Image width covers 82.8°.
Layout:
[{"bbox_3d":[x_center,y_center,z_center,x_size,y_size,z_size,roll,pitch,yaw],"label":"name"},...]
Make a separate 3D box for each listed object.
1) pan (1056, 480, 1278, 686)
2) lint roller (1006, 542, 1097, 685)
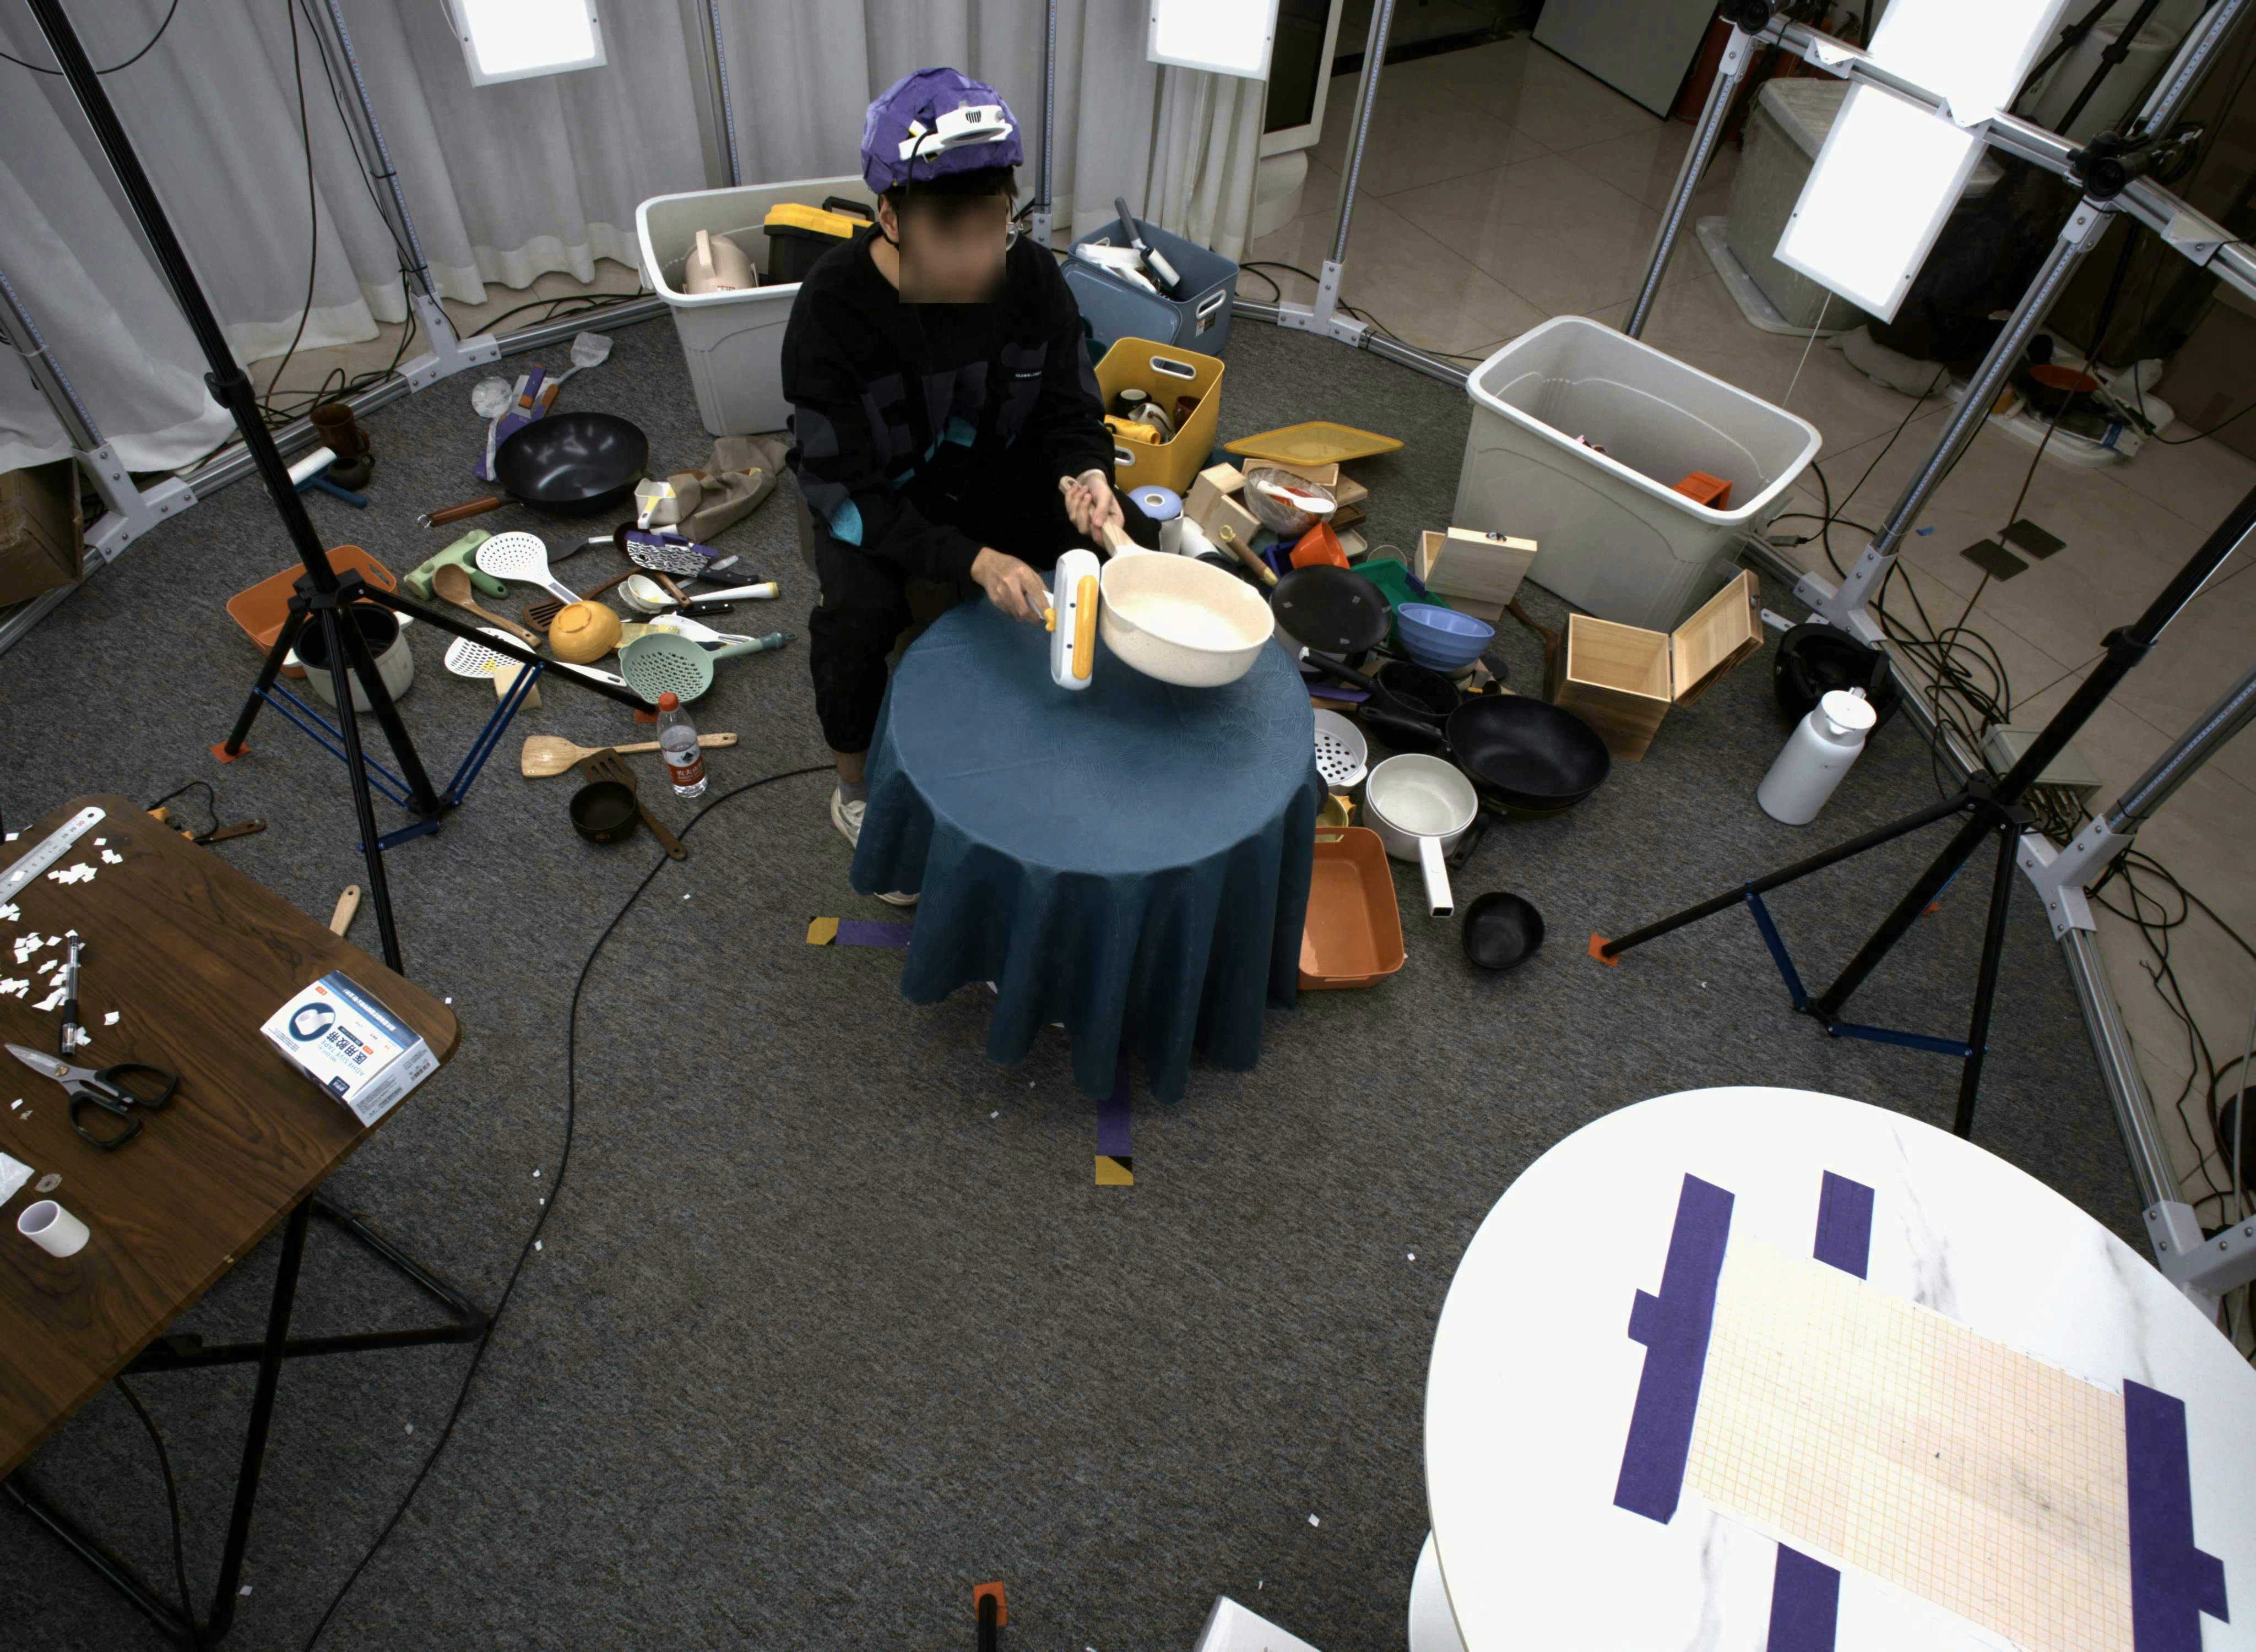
[{"bbox_3d":[0.024,-0.347,1.839,0.264,0.100,0.443,-17,49,-35],"label":"pan"},{"bbox_3d":[-0.106,-0.306,1.796,0.074,0.189,0.196,-13,26,-25],"label":"lint roller"}]
